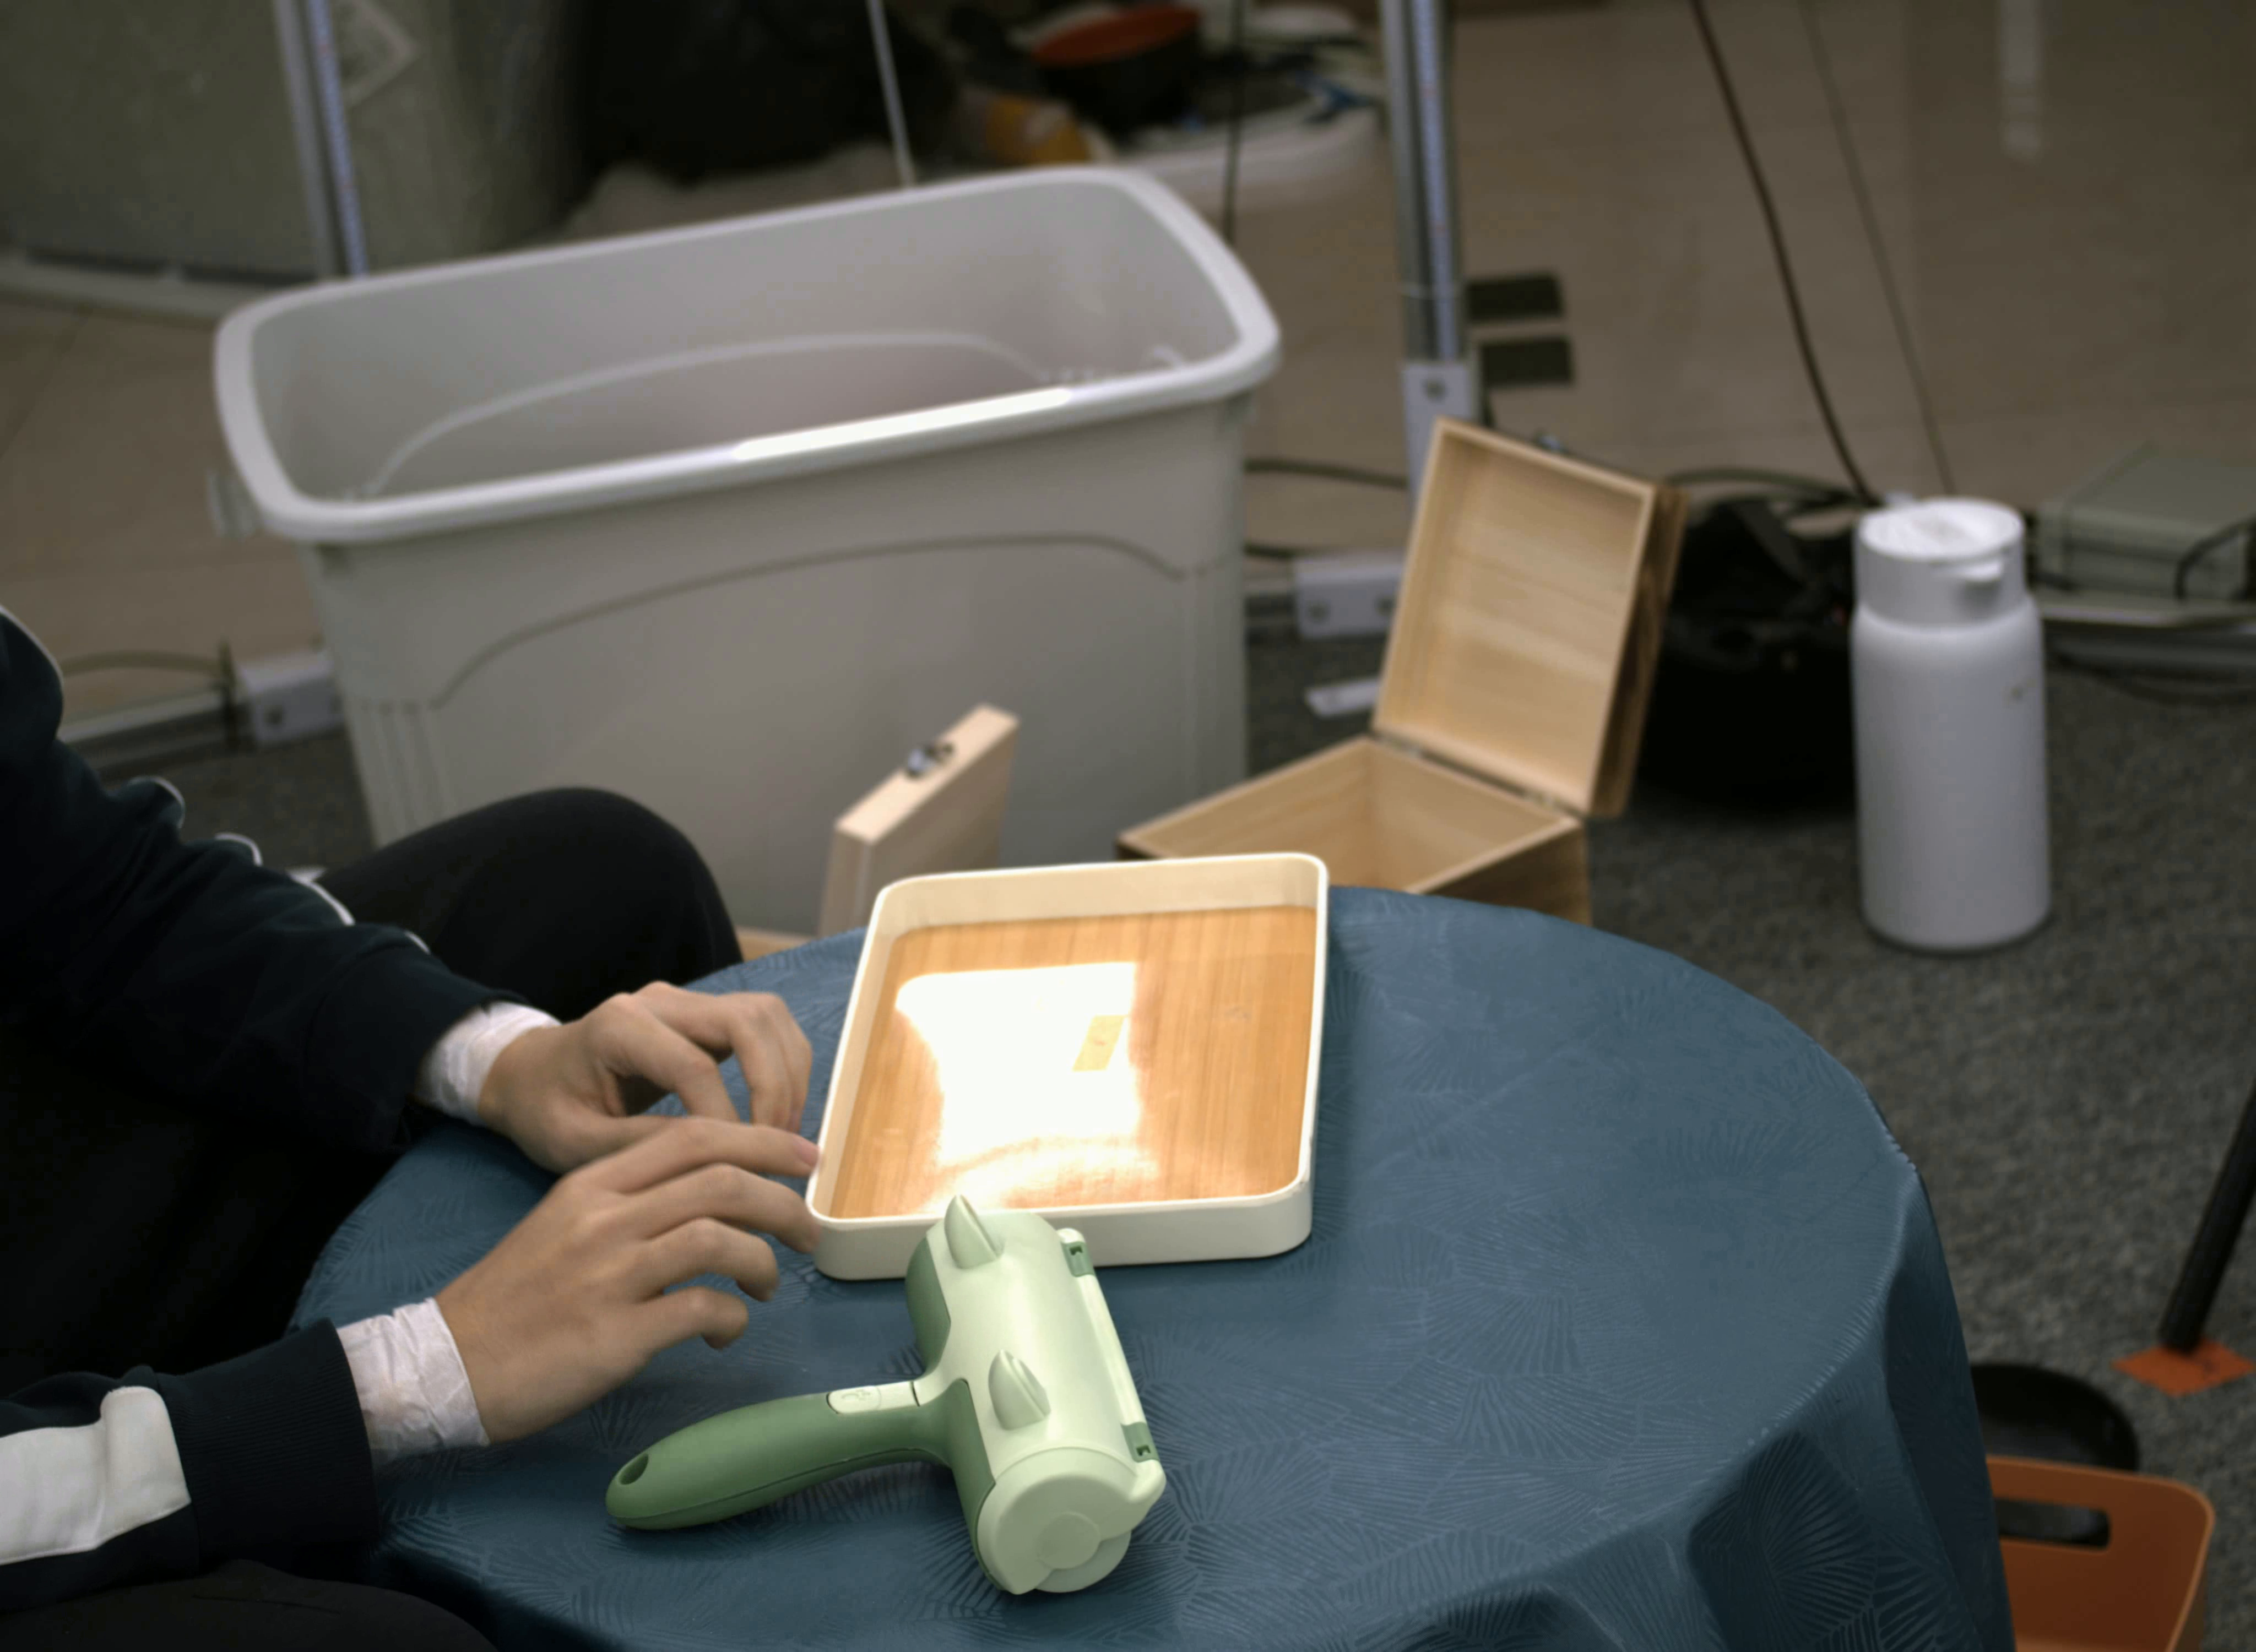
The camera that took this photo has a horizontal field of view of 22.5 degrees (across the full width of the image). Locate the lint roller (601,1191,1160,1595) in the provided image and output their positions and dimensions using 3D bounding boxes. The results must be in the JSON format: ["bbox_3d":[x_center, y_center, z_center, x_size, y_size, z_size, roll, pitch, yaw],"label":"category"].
[{"bbox_3d":[-0.093,0.194,1.957,0.183,0.083,0.196,-5,25,-7],"label":"lint roller"}]

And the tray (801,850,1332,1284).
[{"bbox_3d":[-0.018,0.090,2.221,0.191,0.028,0.296,-4,25,6],"label":"tray"}]
